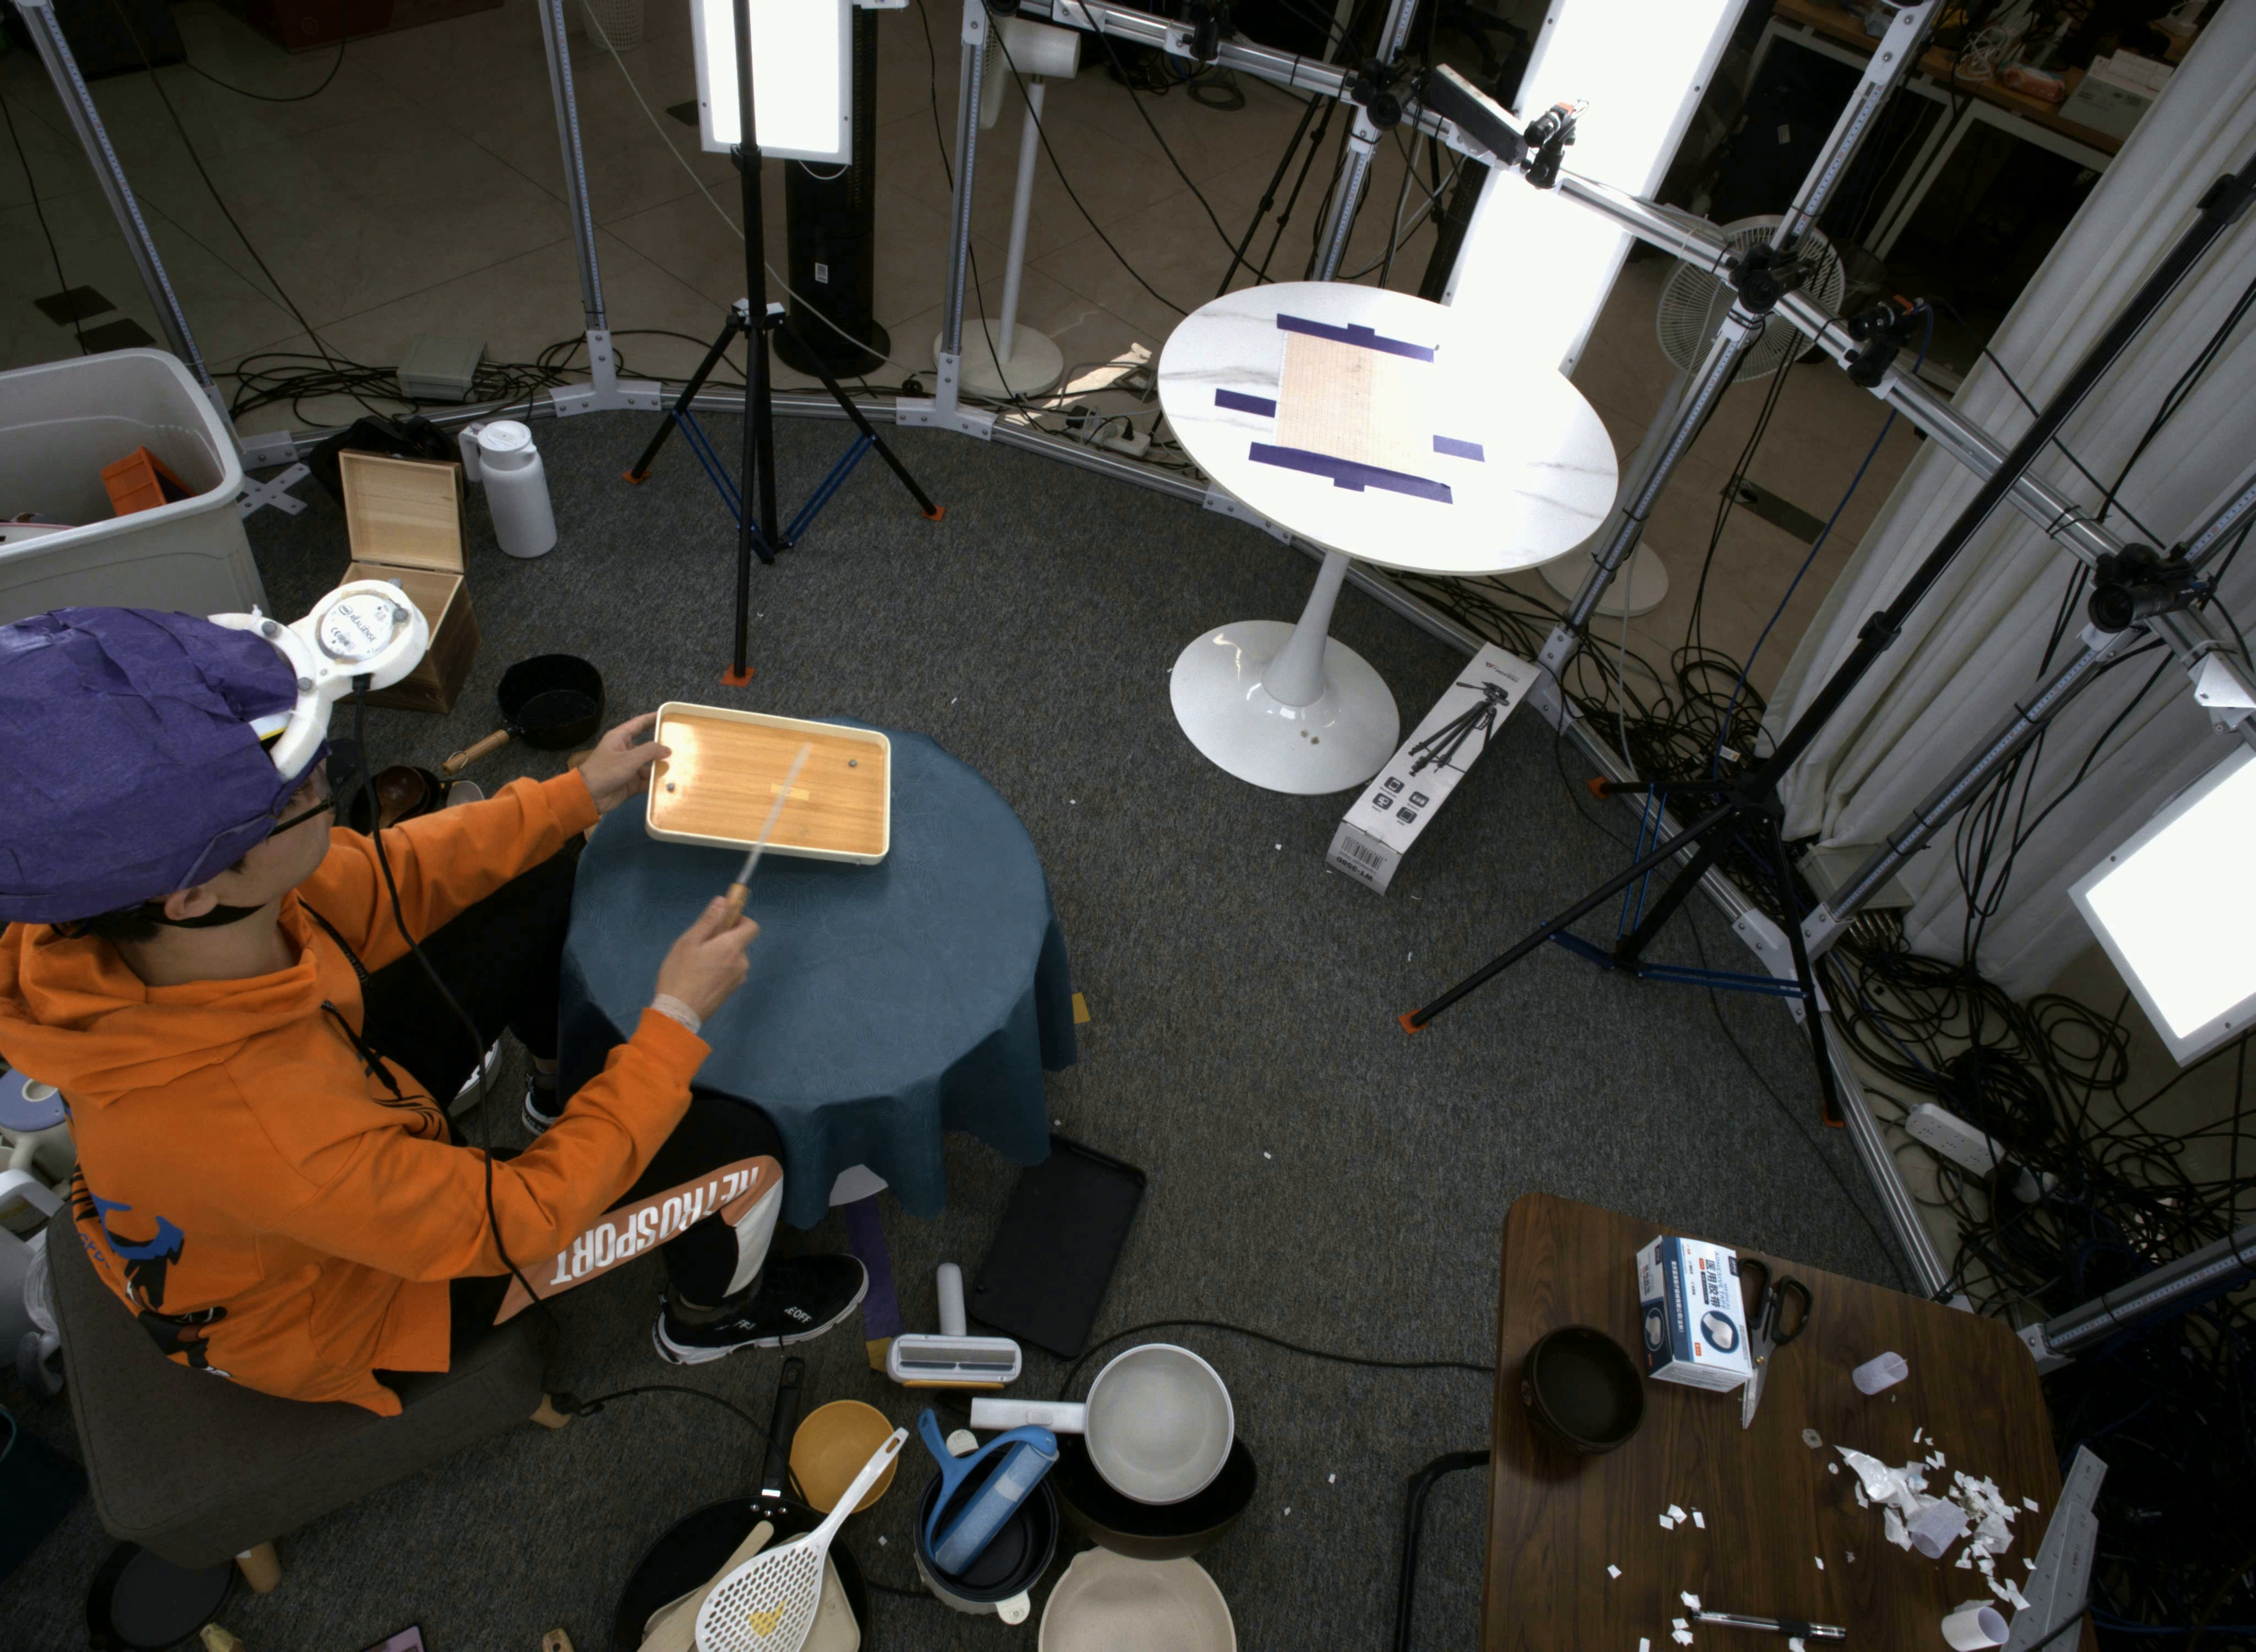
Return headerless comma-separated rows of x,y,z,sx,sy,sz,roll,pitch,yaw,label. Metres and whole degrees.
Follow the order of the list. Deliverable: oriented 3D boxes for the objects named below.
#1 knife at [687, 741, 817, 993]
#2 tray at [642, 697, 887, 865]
-0.416,0.043,1.438,0.021,0.091,0.305,27,72,-16,knife
-0.455,-0.057,1.639,0.304,0.027,0.189,9,60,-25,tray
